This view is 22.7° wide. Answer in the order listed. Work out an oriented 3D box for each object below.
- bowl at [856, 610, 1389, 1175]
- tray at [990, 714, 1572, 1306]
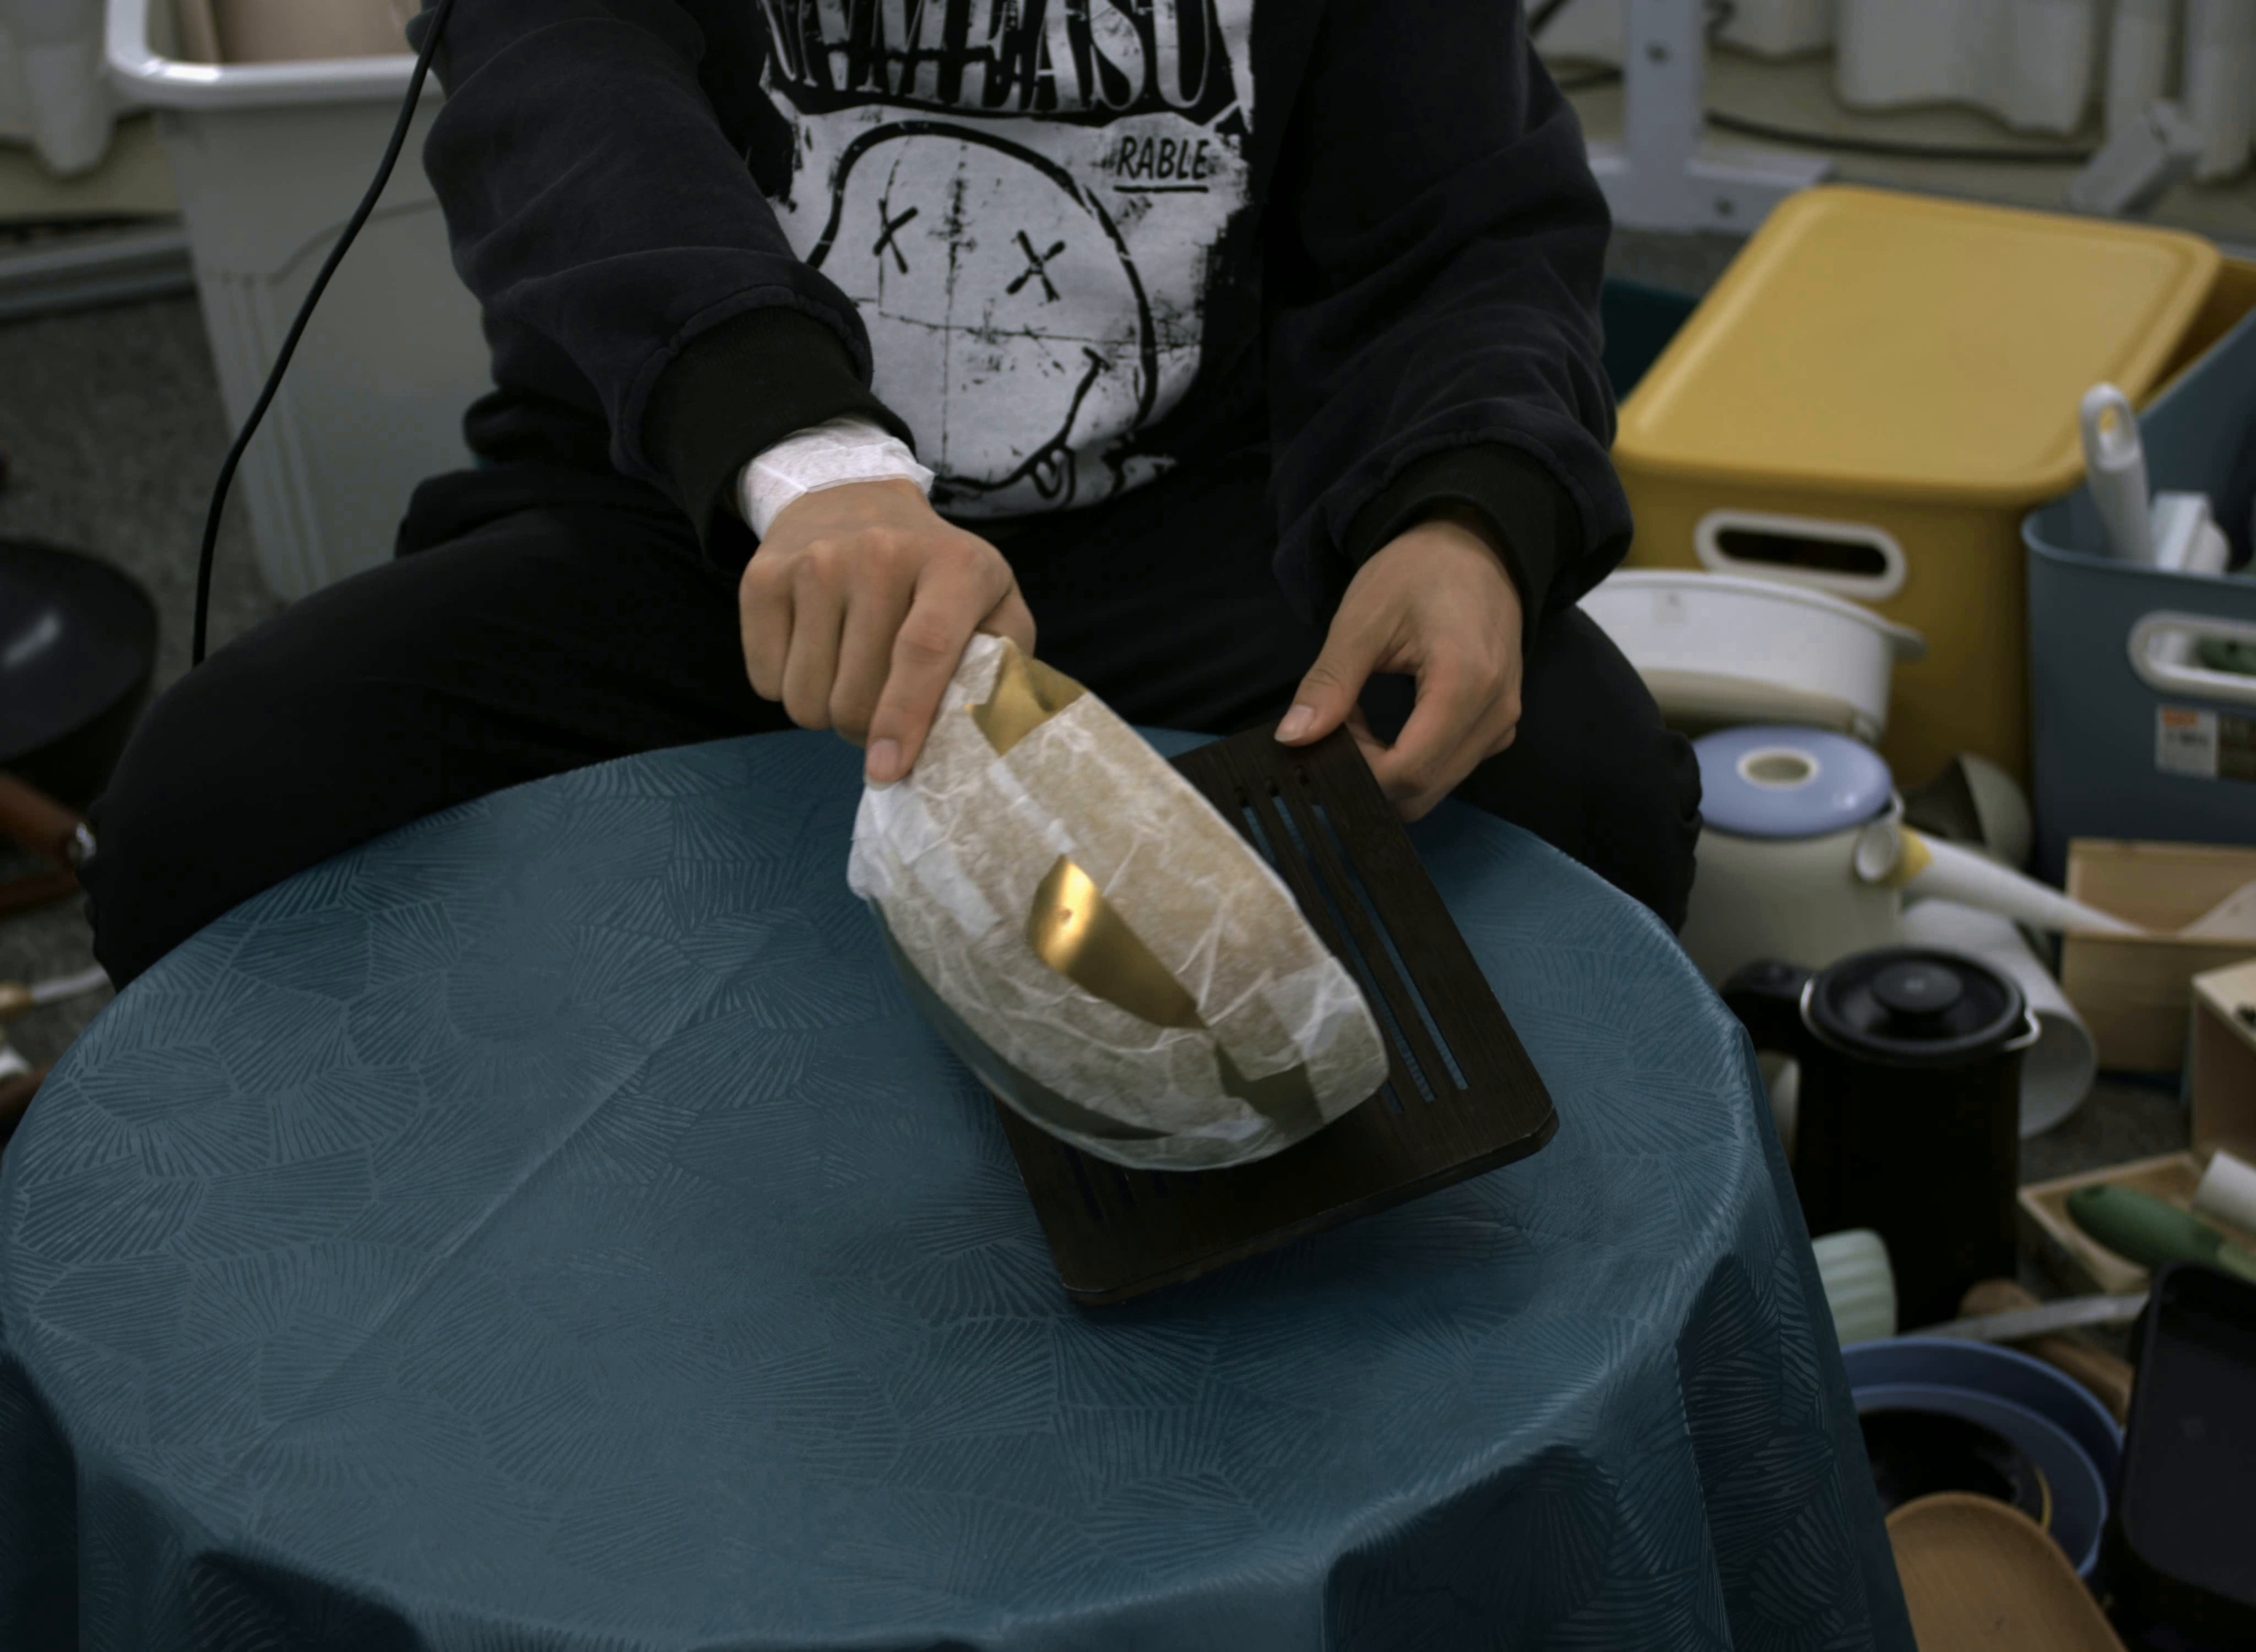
[{"bbox_3d":[-0.019,0.041,1.789,0.095,0.212,0.215,-43,39,-11],"label":"bowl"},{"bbox_3d":[0.033,0.059,1.919,0.170,0.018,0.309,-19,29,-4],"label":"tray"}]
